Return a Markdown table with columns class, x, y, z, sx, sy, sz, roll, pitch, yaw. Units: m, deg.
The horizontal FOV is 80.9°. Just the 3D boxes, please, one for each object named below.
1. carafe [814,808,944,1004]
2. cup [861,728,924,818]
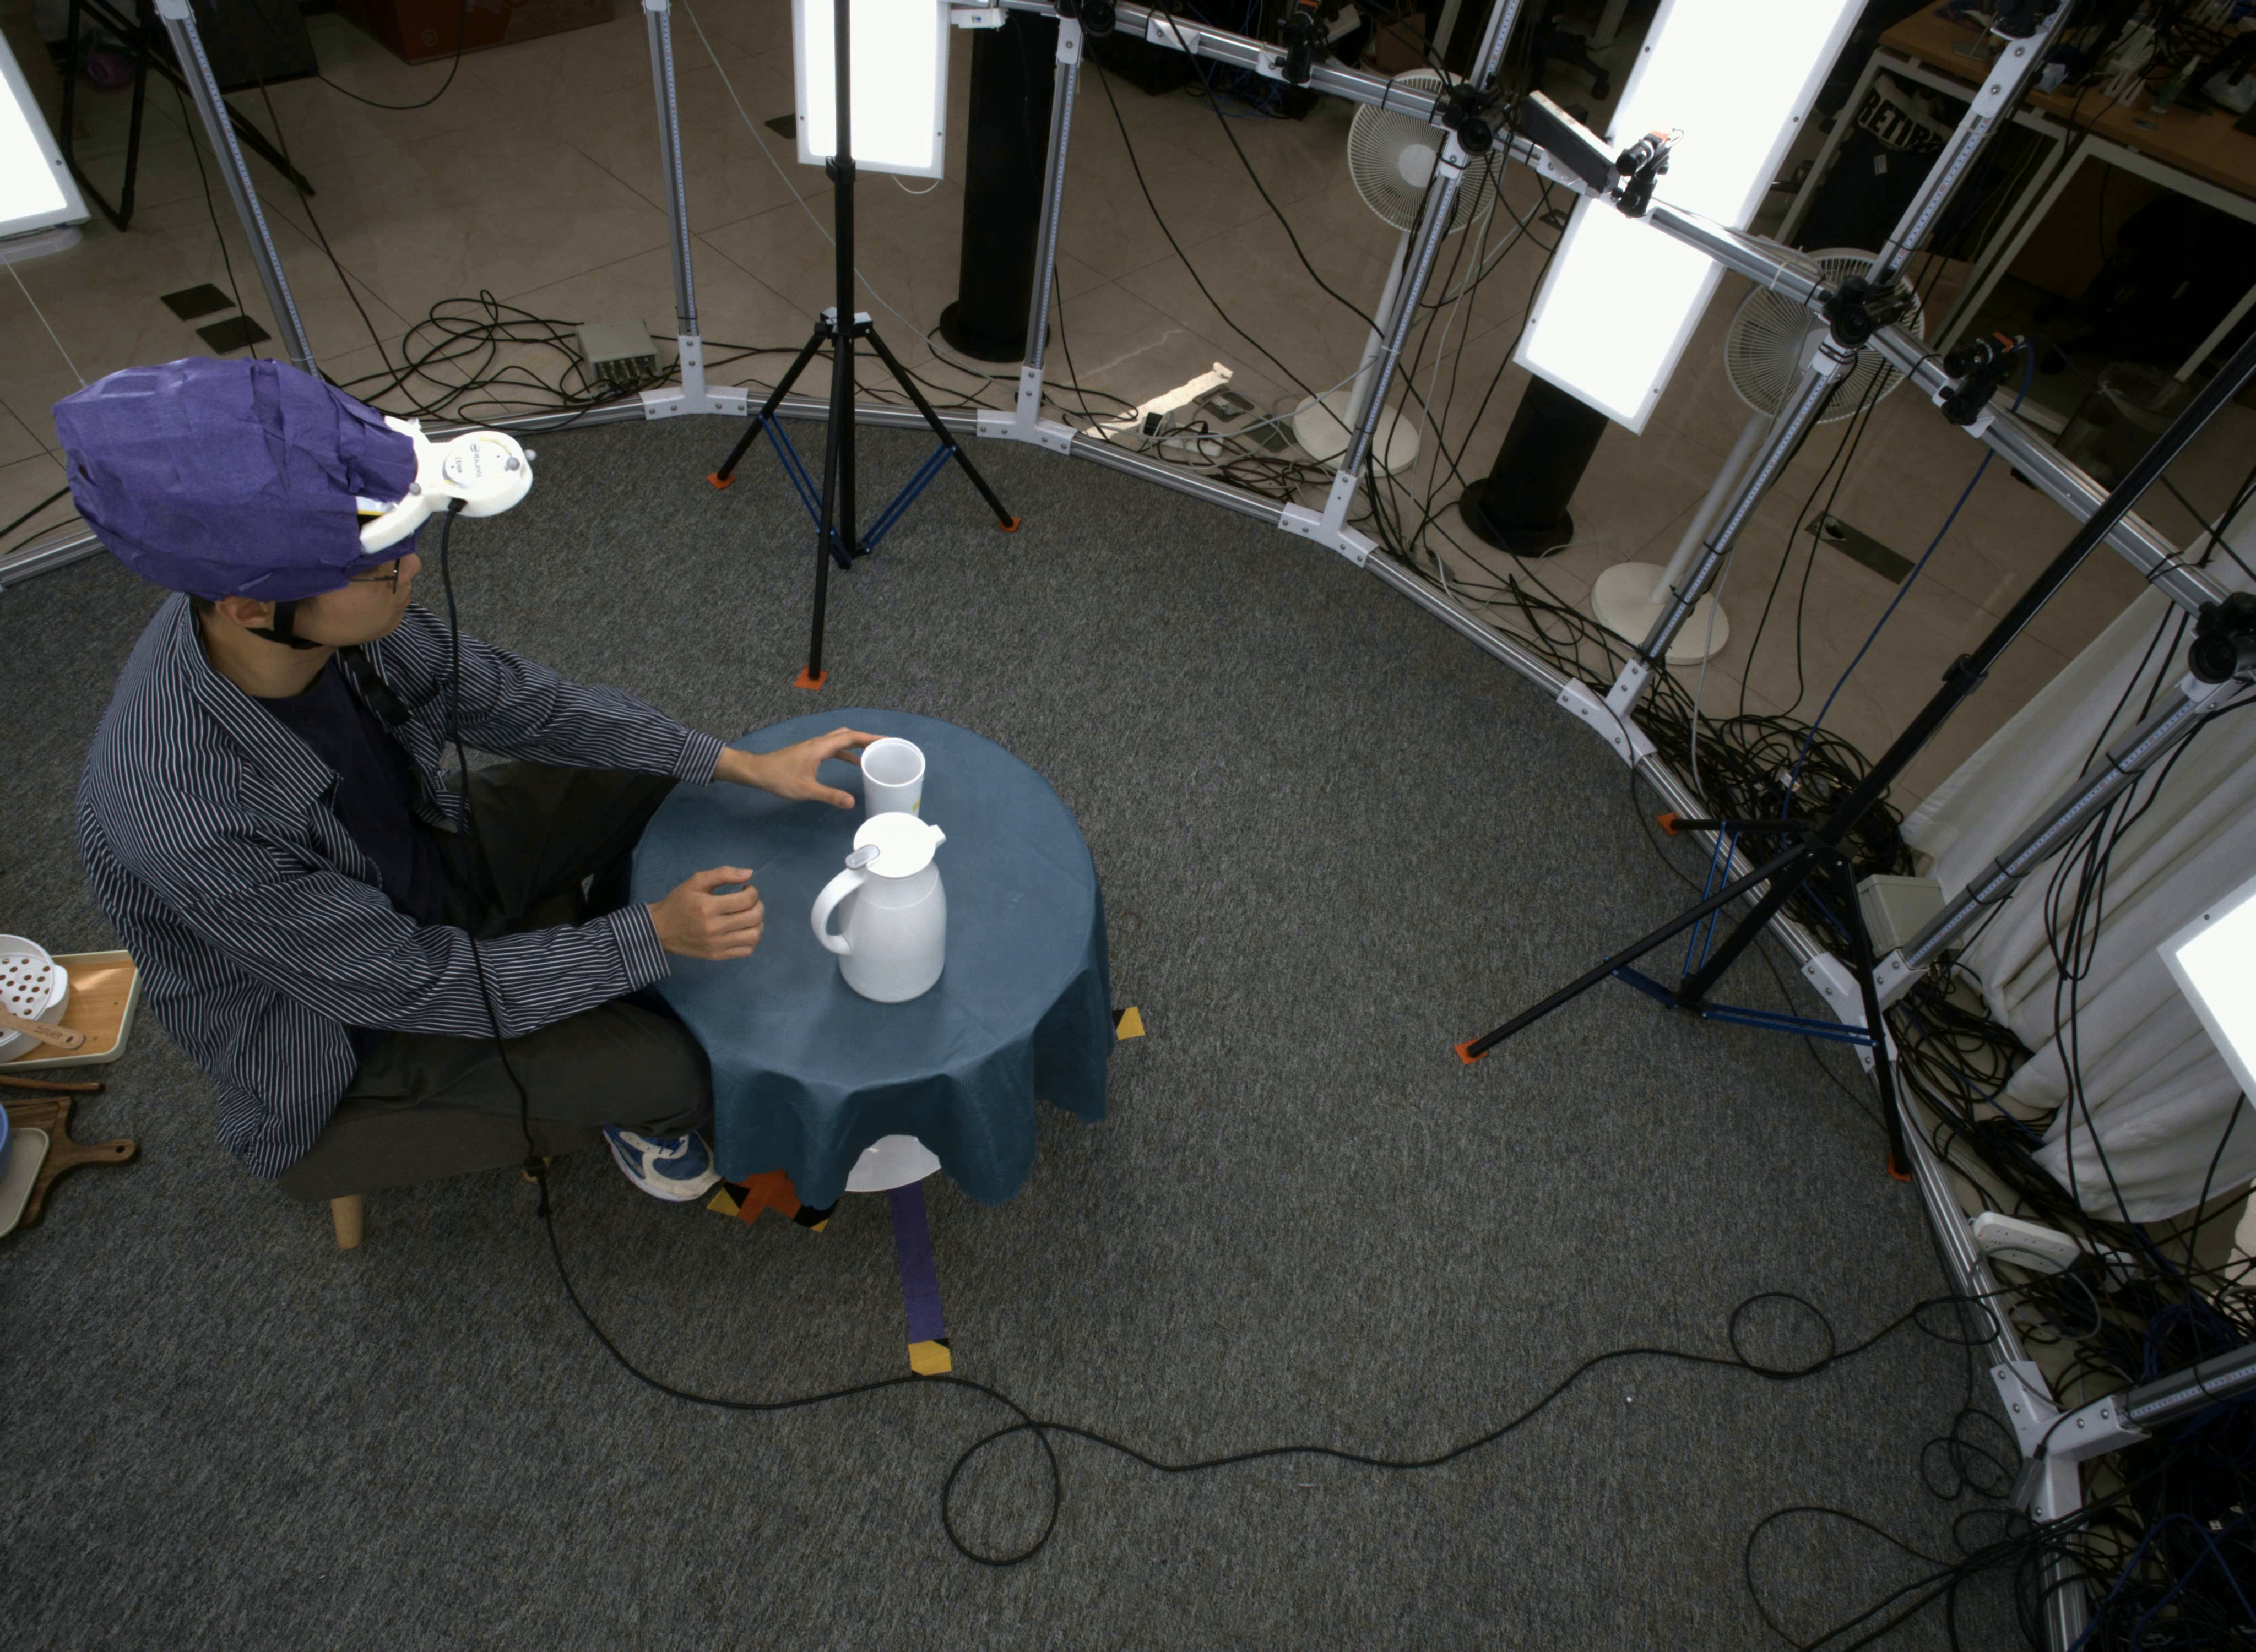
| class | x | y | z | sx | sy | sz | roll | pitch | yaw |
| --- | --- | --- | --- | --- | --- | --- | --- | --- | --- |
| carafe | -0.294 | 0.098 | 1.534 | 0.168 | 0.253 | 0.129 | -33 | 66 | -33 |
| cup | -0.313 | -0.057 | 1.726 | 0.081 | 0.128 | 0.080 | 6 | 52 | -6 |
